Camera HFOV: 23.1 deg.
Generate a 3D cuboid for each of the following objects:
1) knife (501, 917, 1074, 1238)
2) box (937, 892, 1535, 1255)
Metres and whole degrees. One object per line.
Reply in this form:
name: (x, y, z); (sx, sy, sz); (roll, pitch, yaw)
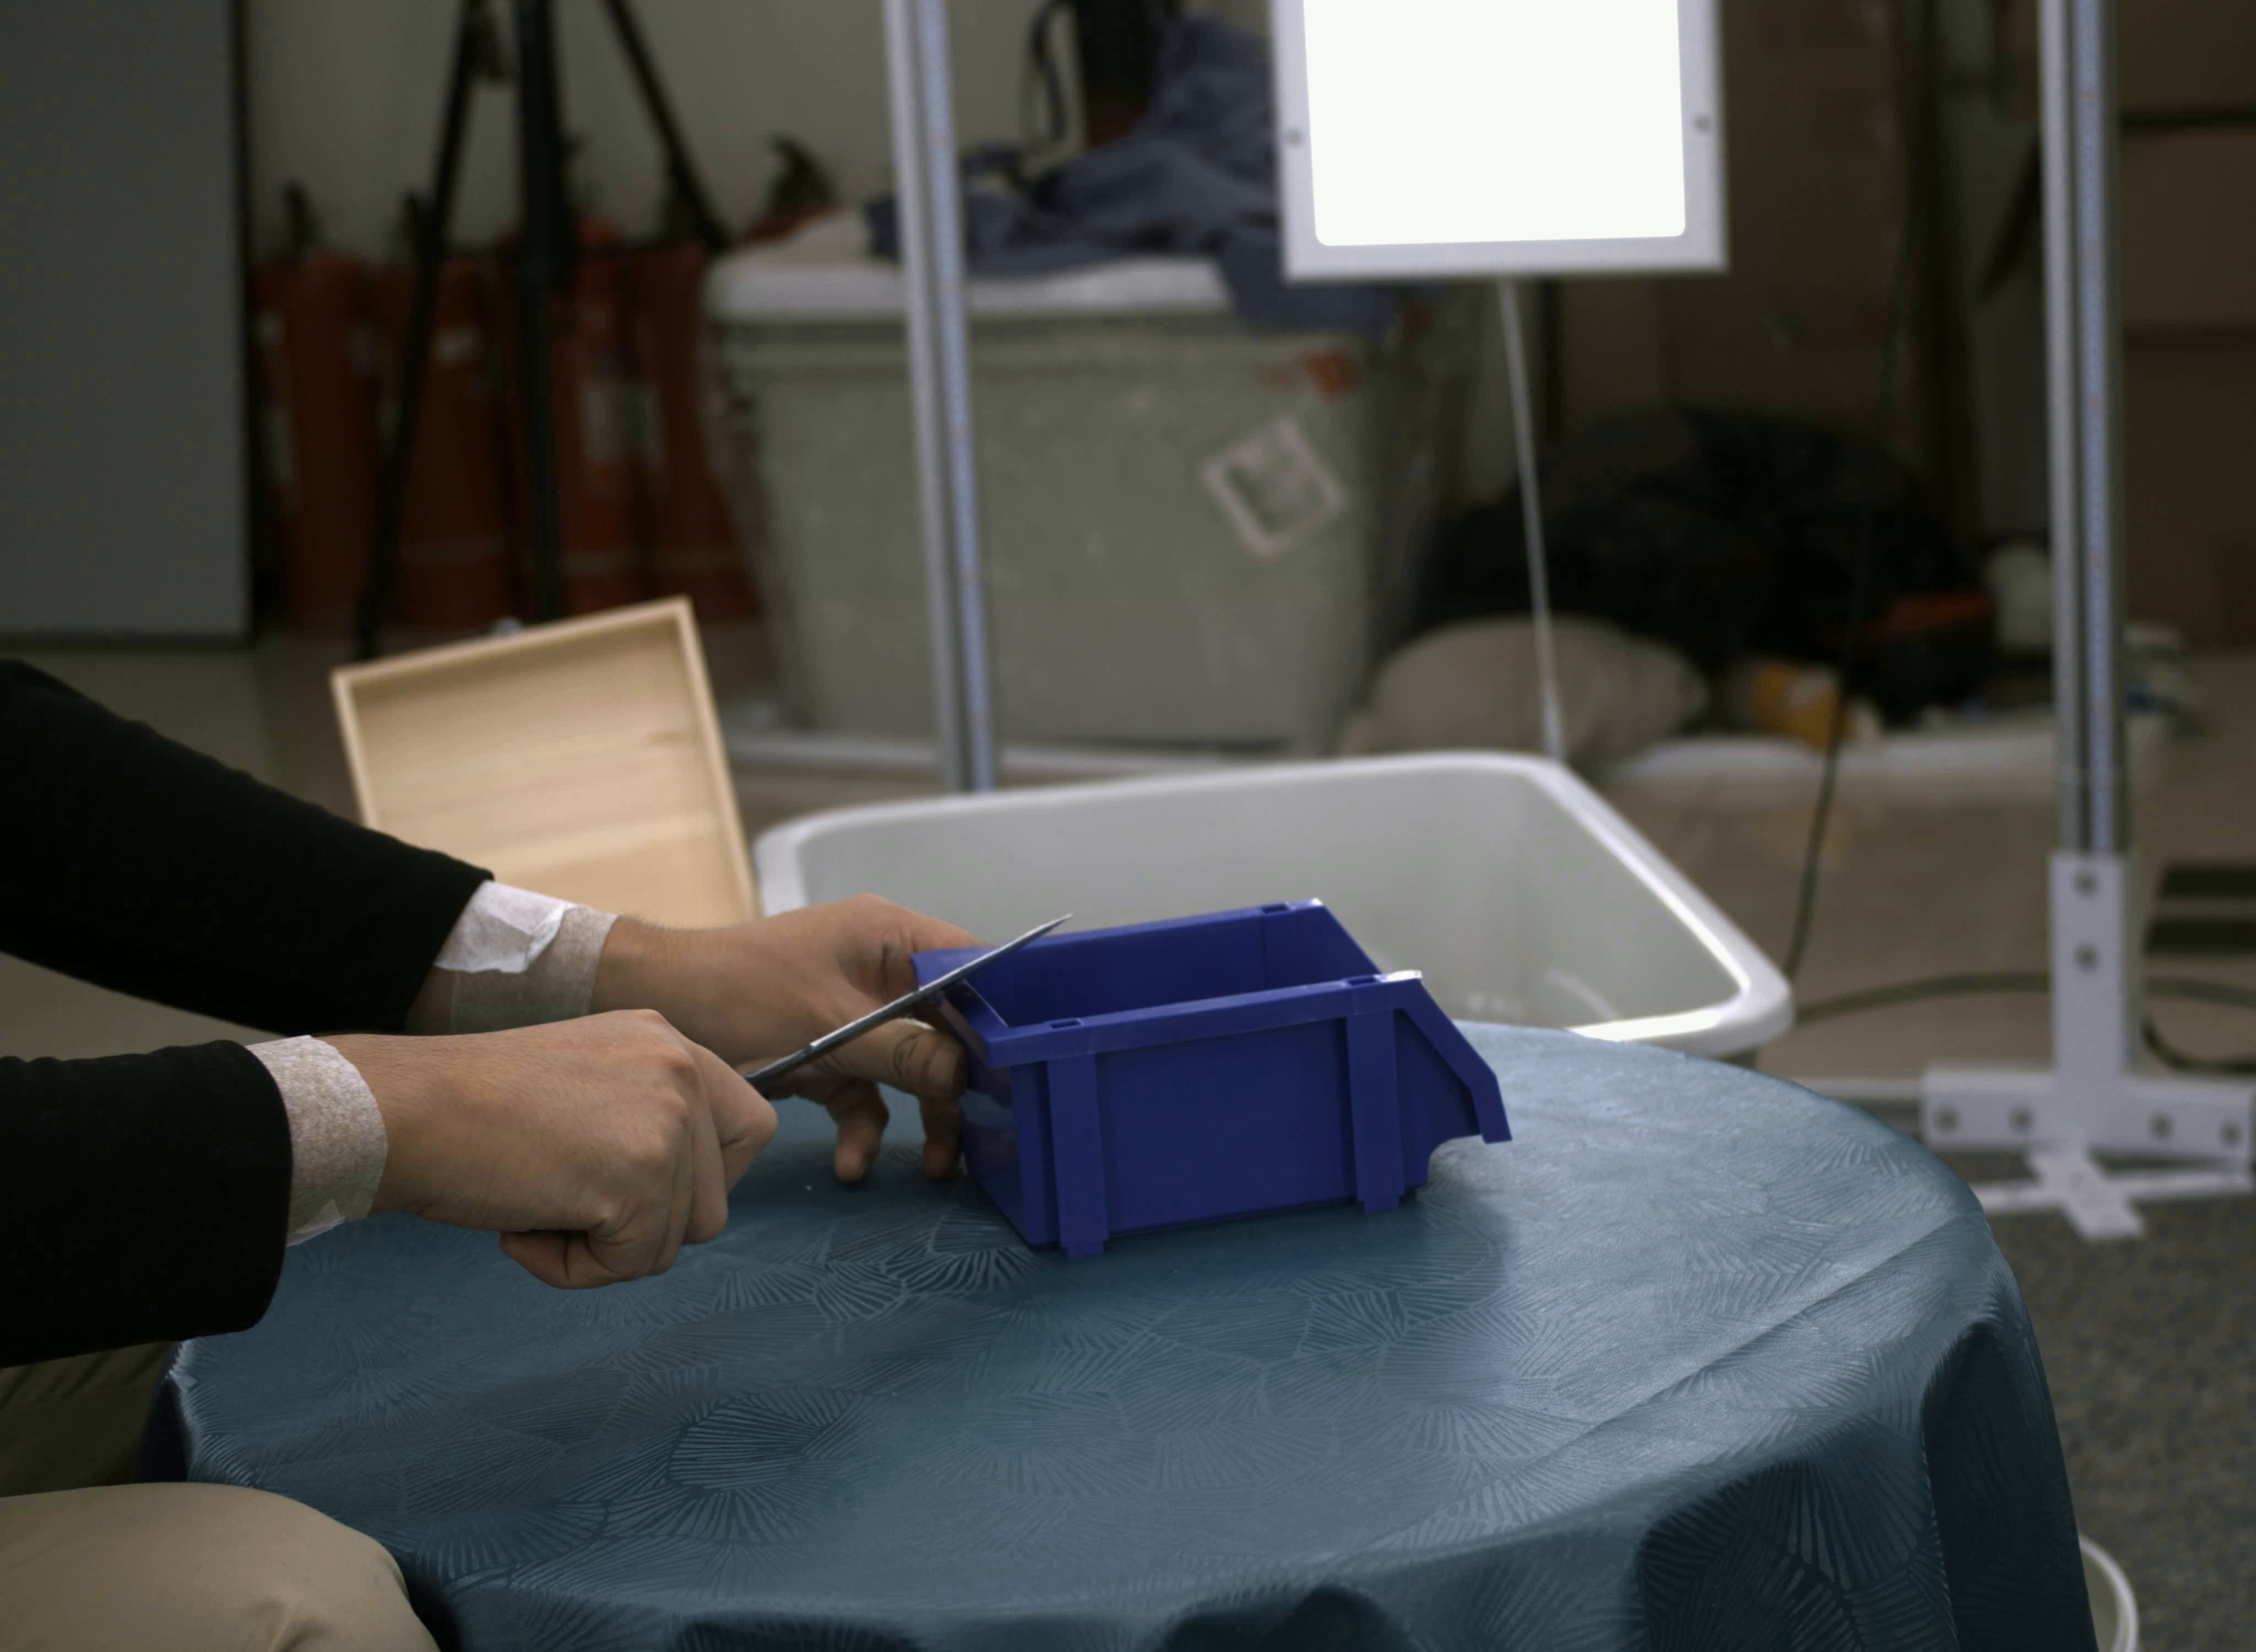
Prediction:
knife: (-0.103, 0.075, 1.784); (0.051, 0.020, 0.282); (-33, -4, 41)
box: (0.036, 0.082, 1.896); (0.177, 0.082, 0.125); (-10, 14, -9)
